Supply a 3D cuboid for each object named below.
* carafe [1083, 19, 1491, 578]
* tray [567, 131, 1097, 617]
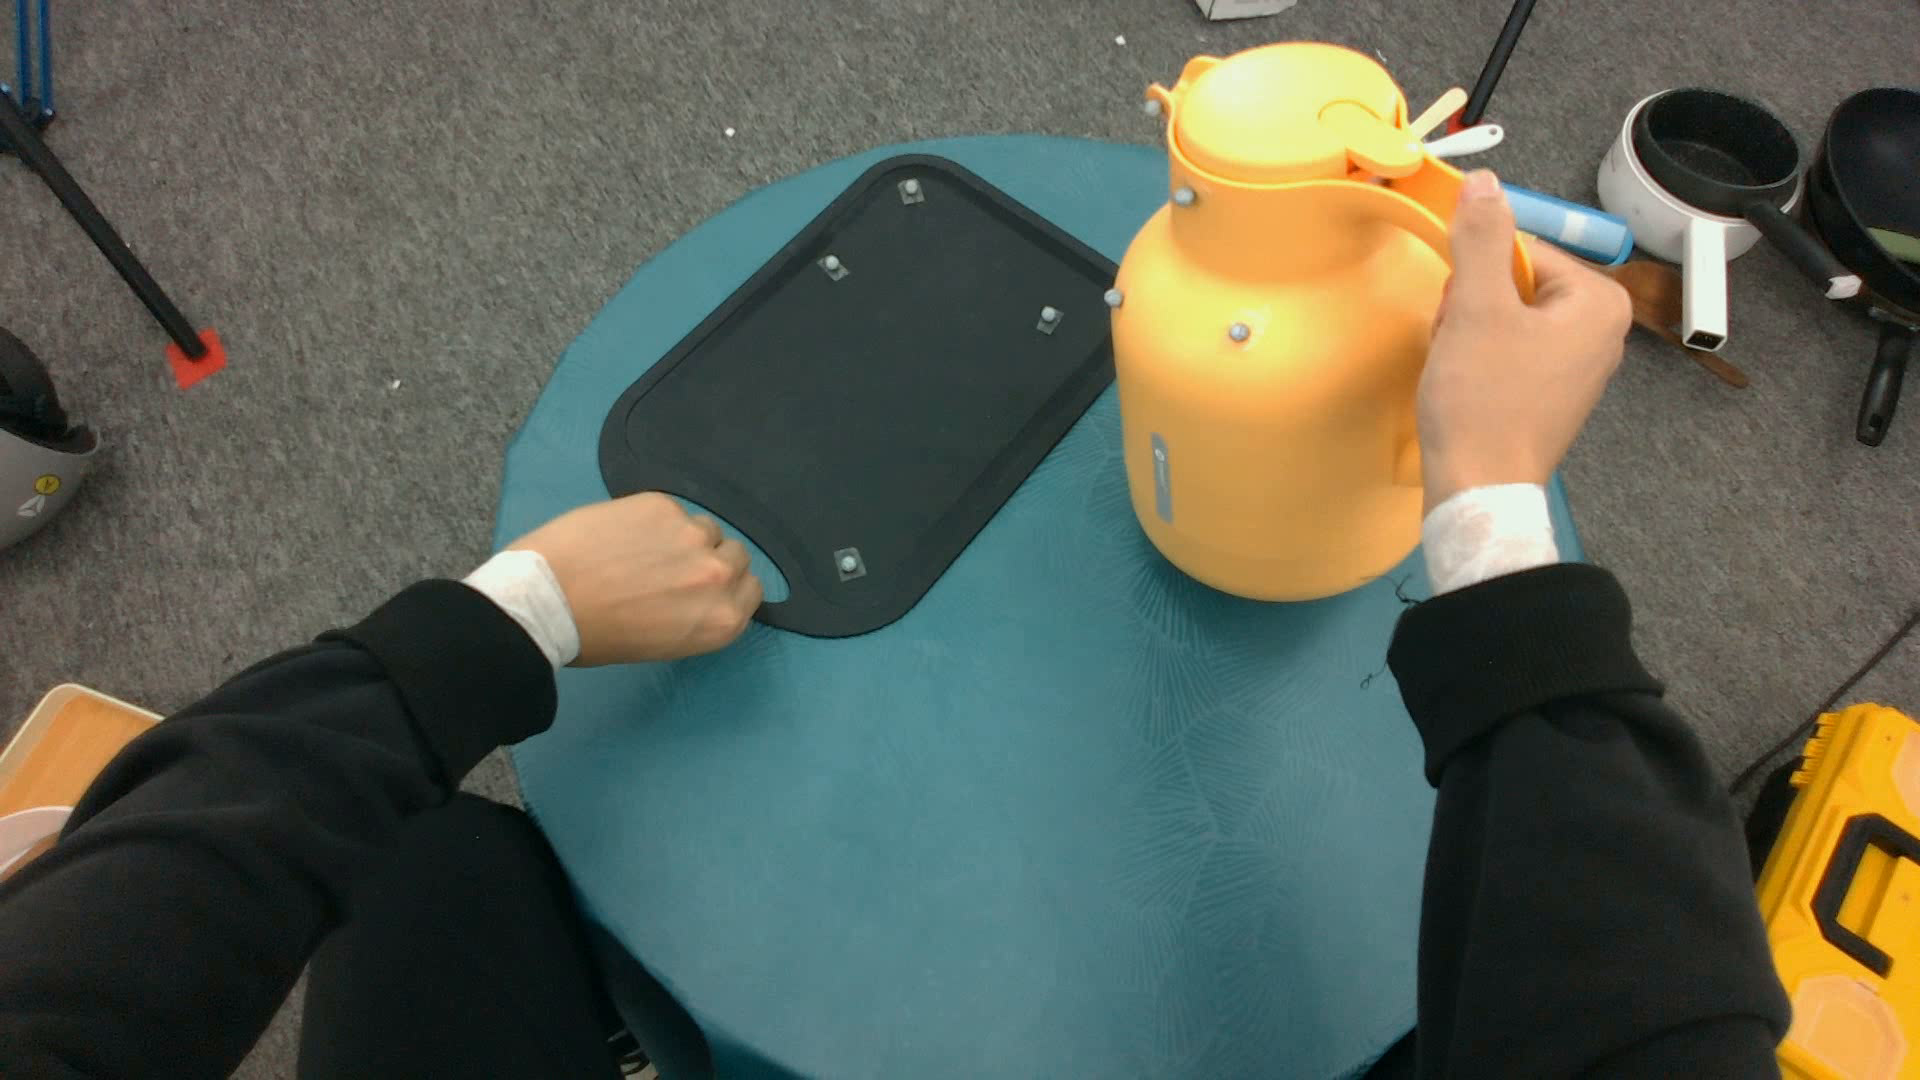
[{"bbox_3d":[0.151,-0.101,0.644,0.164,0.259,0.202,-37,49,-15],"label":"carafe"},{"bbox_3d":[-0.063,-0.103,0.788,0.211,0.010,0.326,36,66,12],"label":"tray"}]
